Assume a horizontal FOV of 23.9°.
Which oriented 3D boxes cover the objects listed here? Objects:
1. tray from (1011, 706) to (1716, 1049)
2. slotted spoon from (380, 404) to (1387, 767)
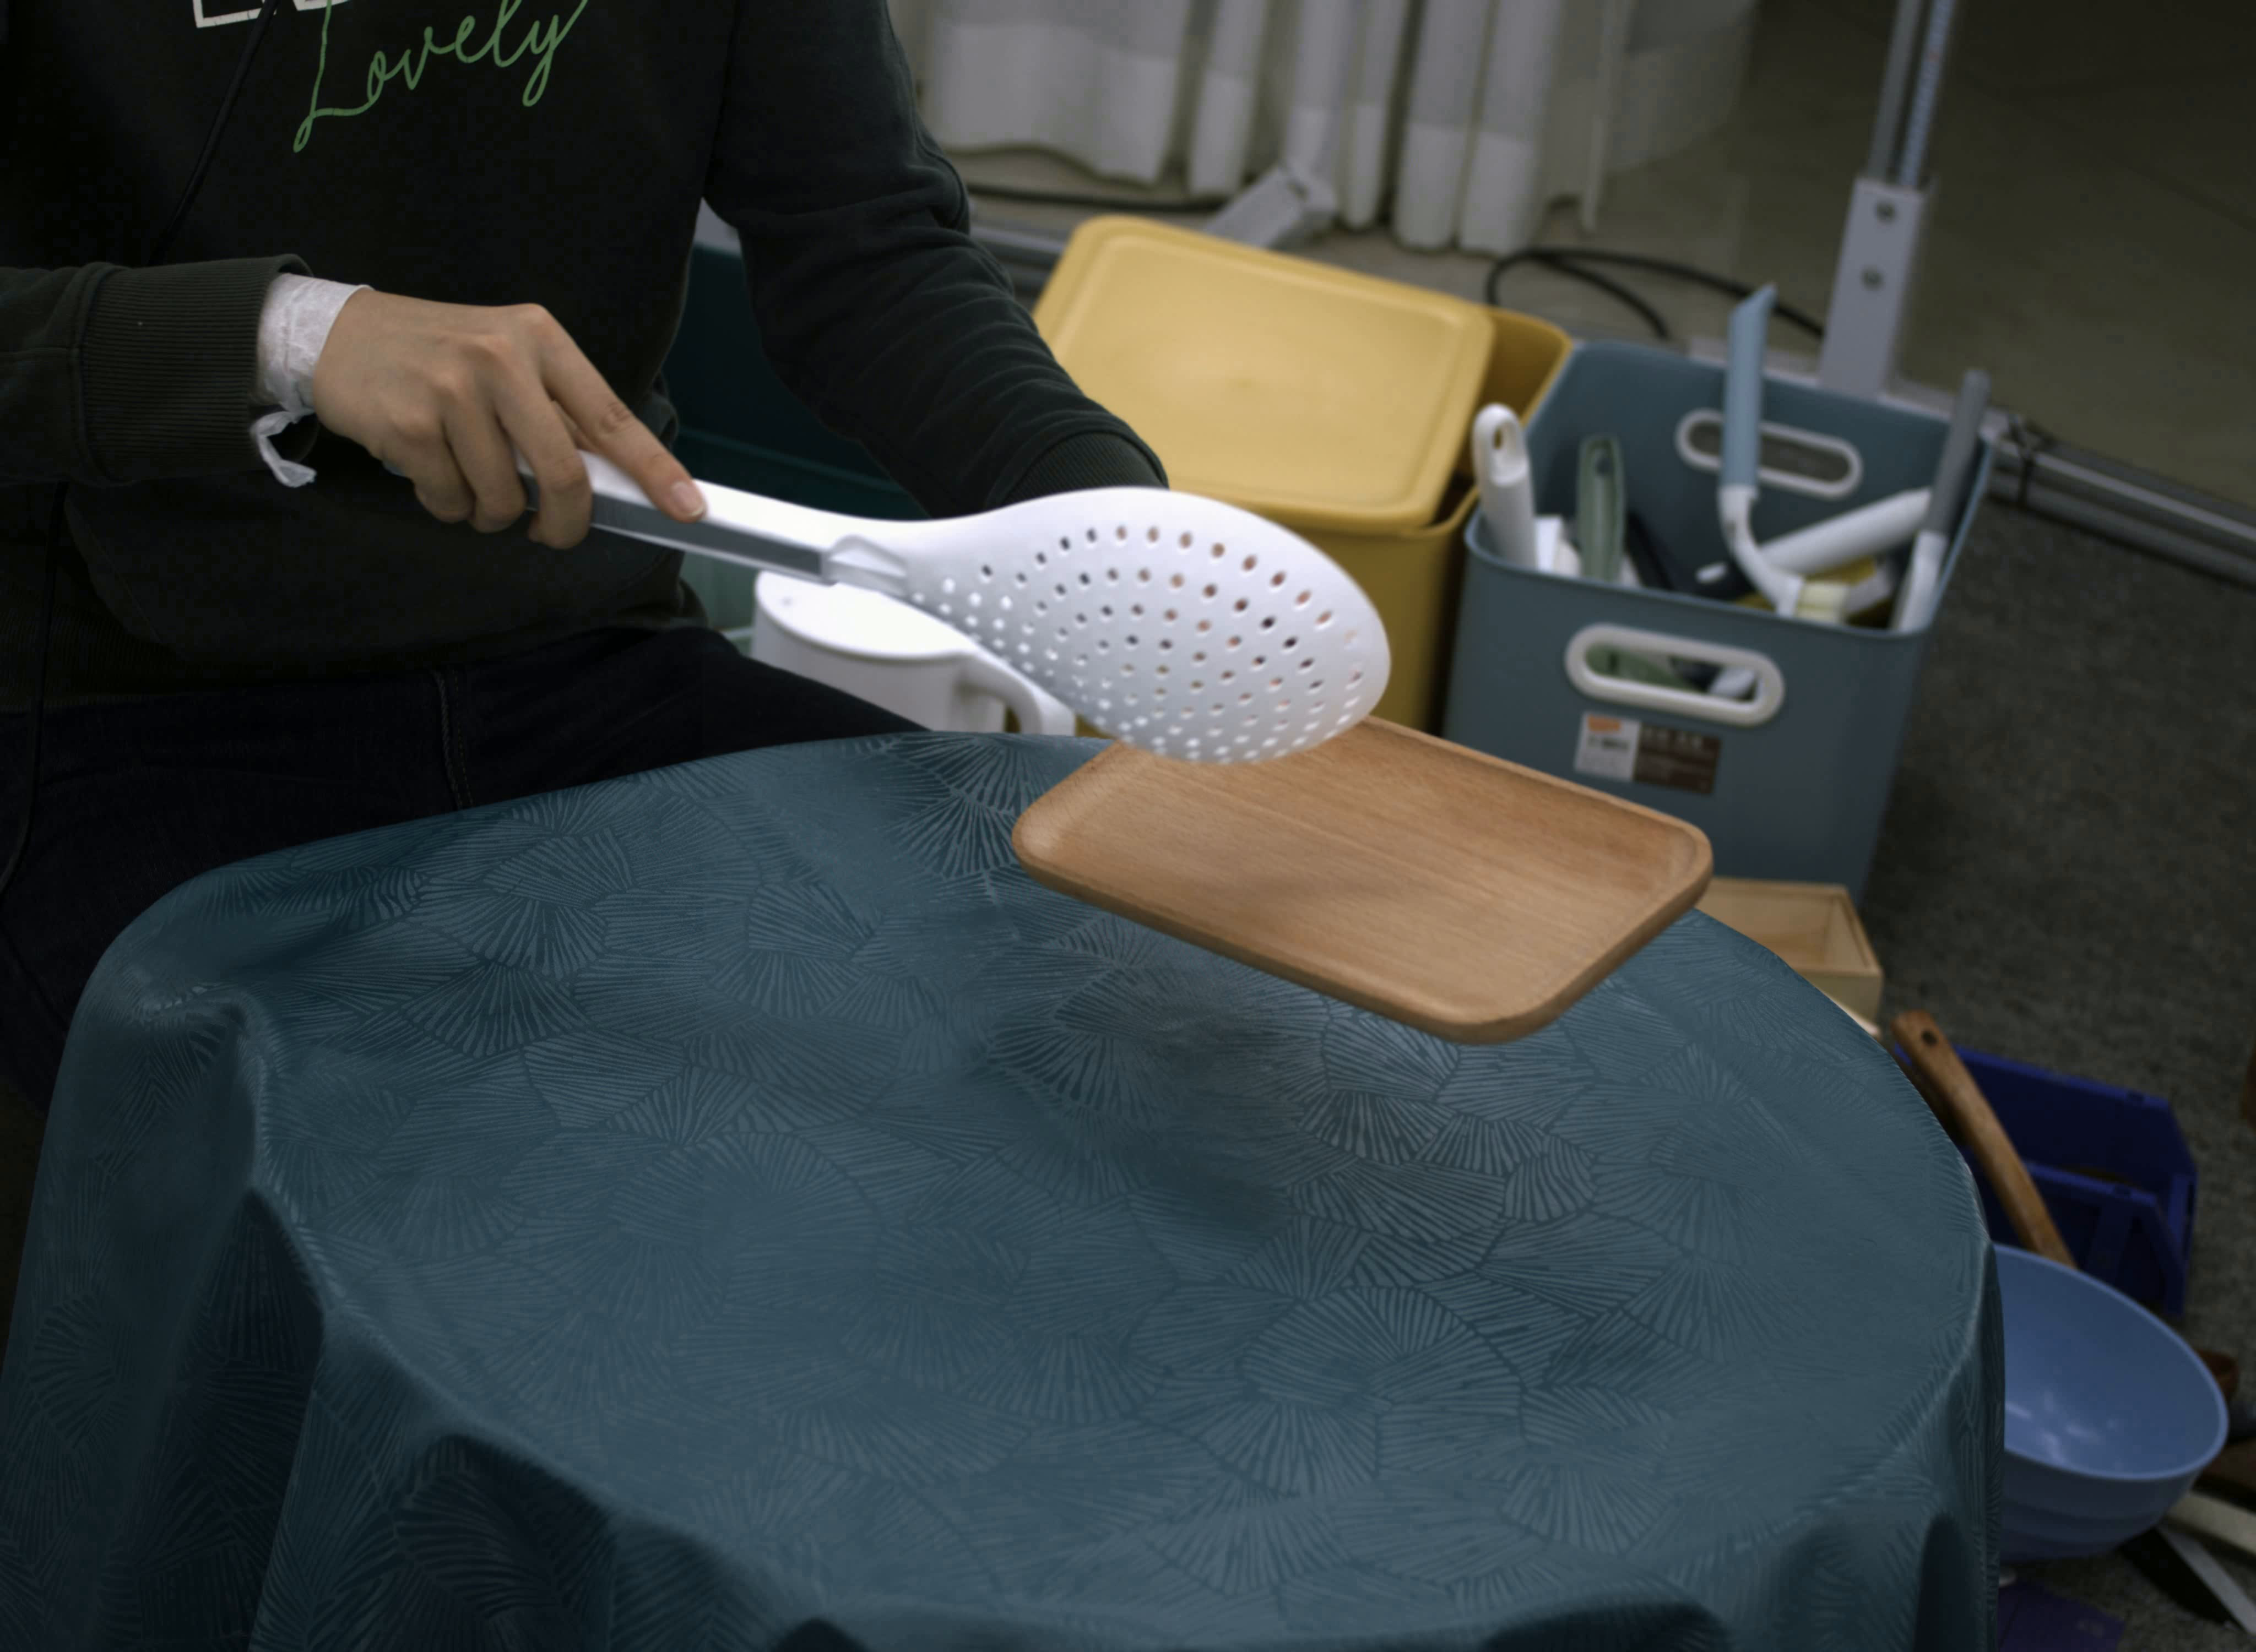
[{"bbox_3d":[0.078,0.011,1.825,0.130,0.023,0.252,-34,35,-31],"label":"tray"},{"bbox_3d":[-0.085,-0.089,1.773,0.350,0.135,0.046,18,55,13],"label":"slotted spoon"}]
